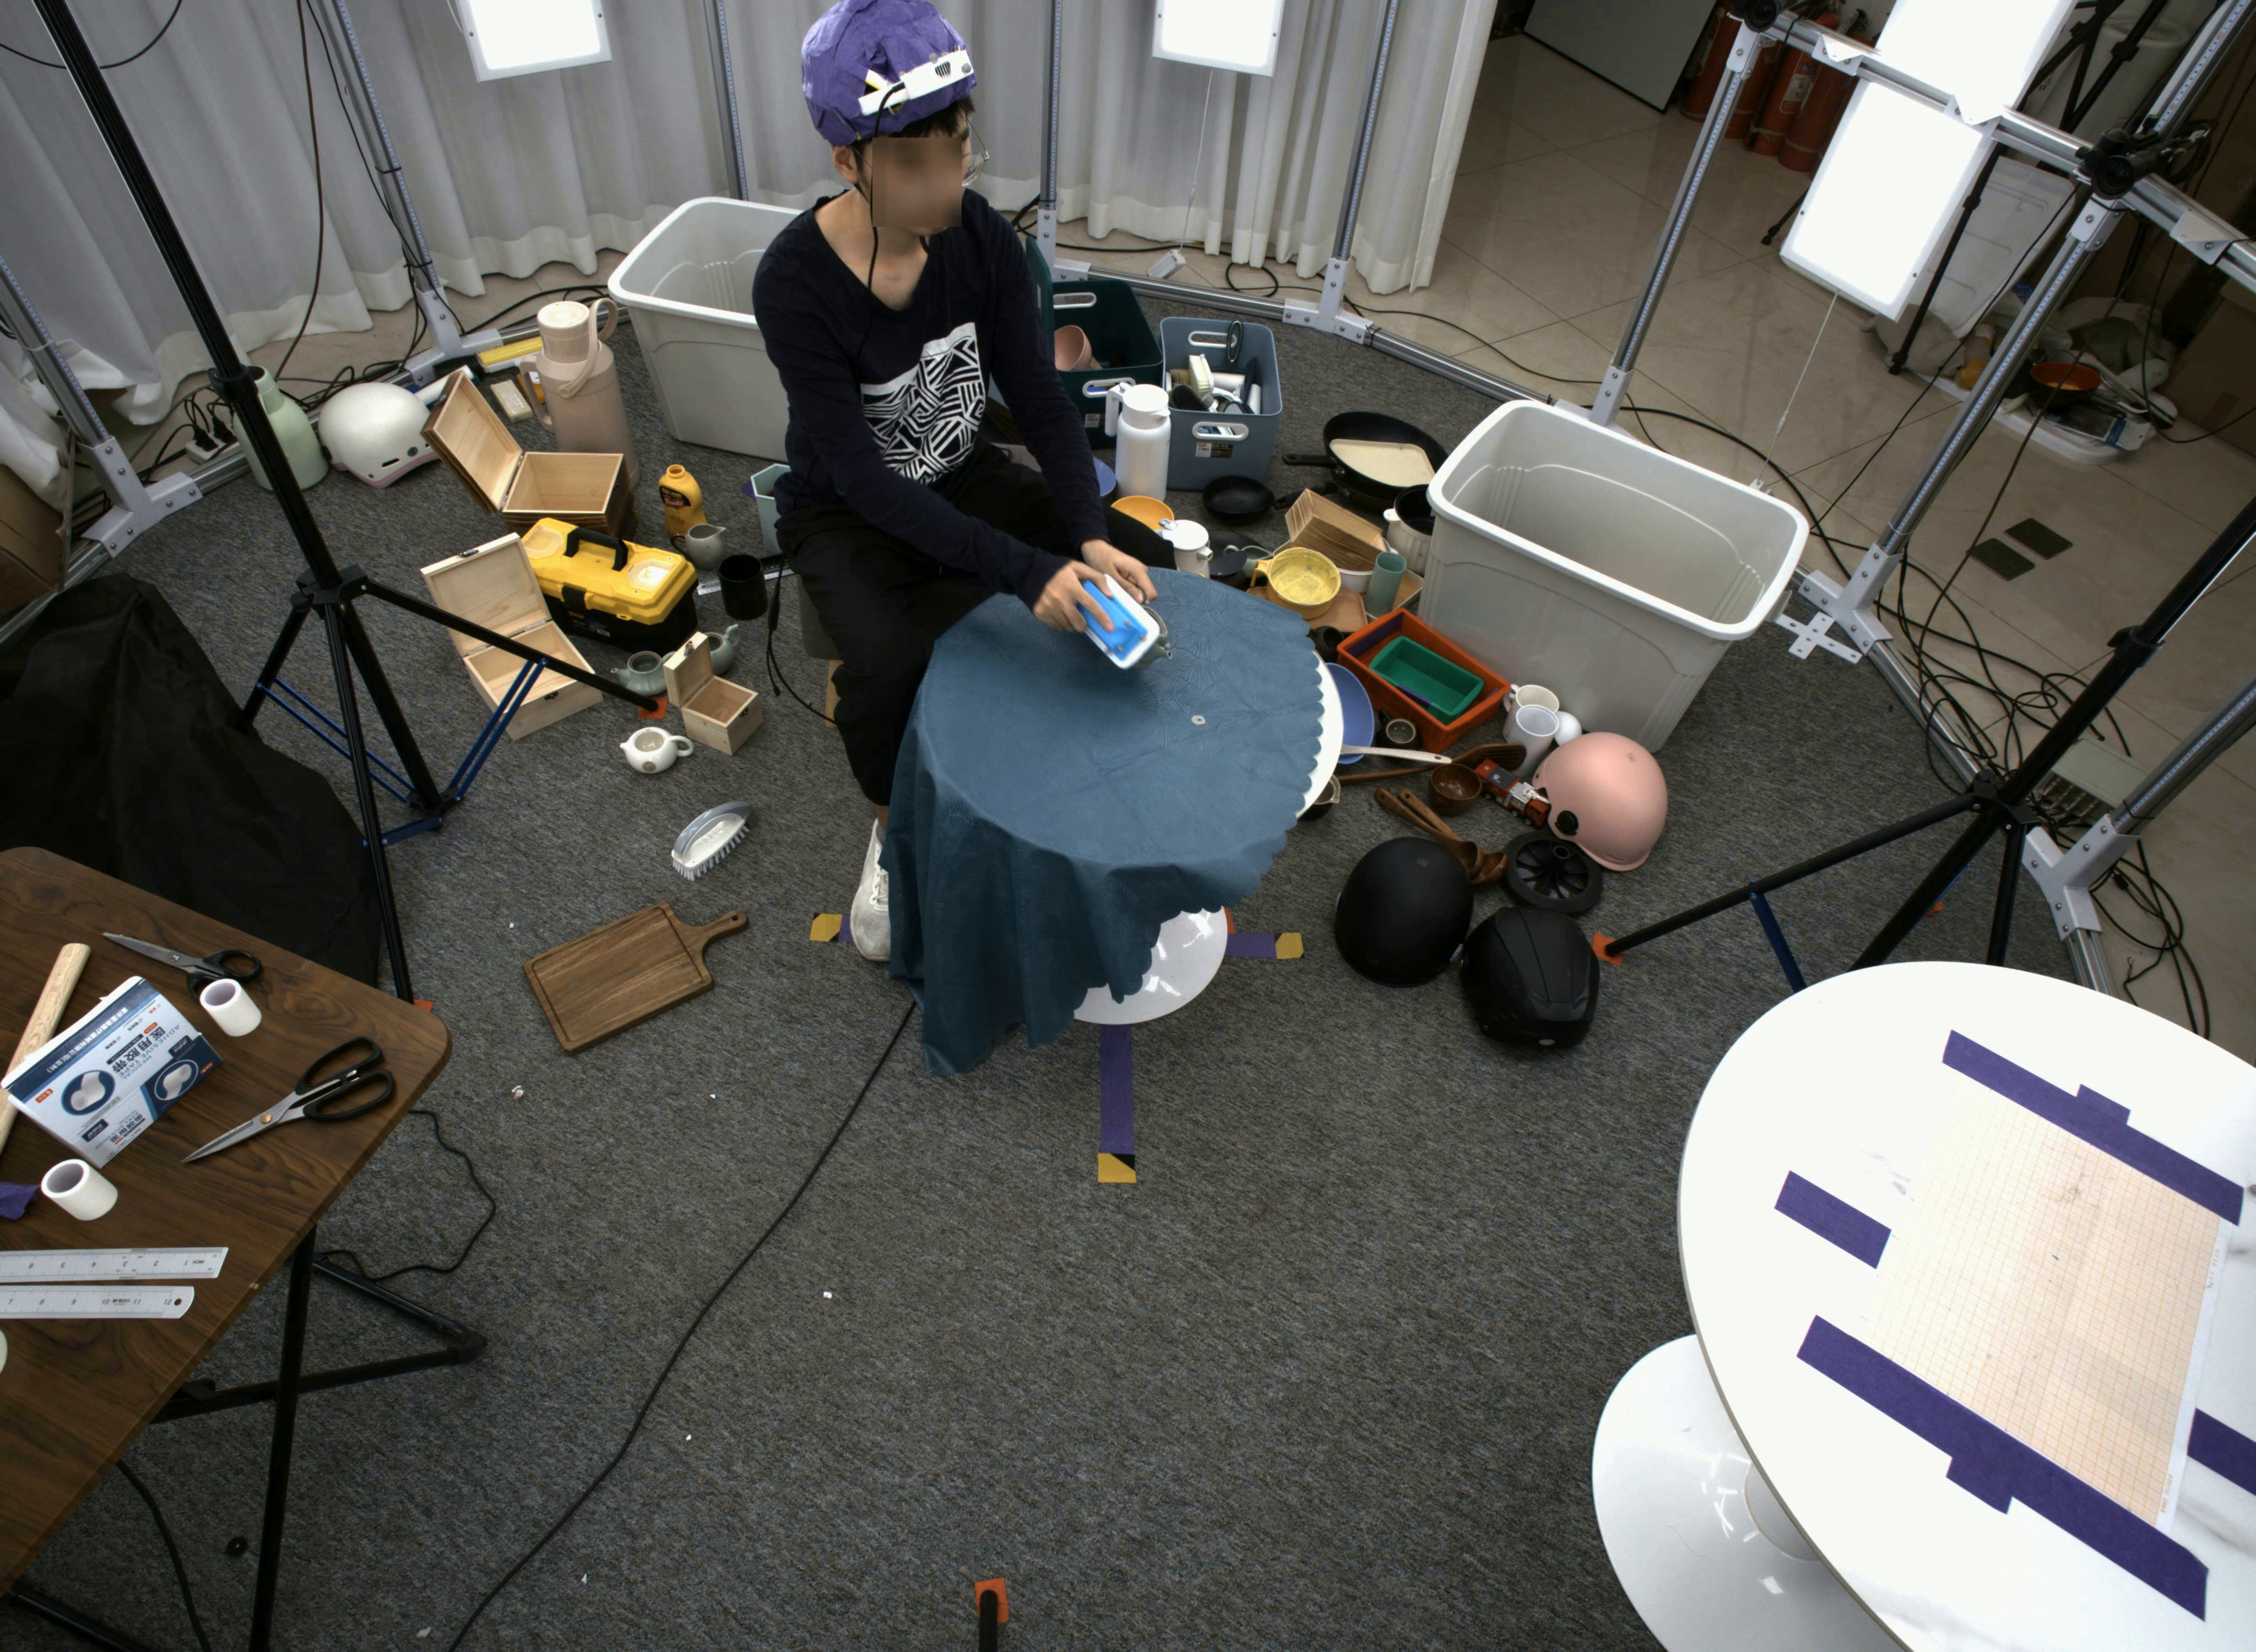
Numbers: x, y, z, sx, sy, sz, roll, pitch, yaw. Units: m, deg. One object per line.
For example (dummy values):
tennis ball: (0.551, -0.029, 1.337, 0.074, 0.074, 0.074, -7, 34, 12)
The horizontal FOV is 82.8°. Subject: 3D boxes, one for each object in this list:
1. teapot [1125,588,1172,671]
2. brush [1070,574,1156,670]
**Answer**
teapot: (0.014, -0.270, 1.818, 0.079, 0.074, 0.135, 13, 47, -50)
brush: (-0.027, -0.287, 1.777, 0.083, 0.055, 0.147, -44, 60, 13)
